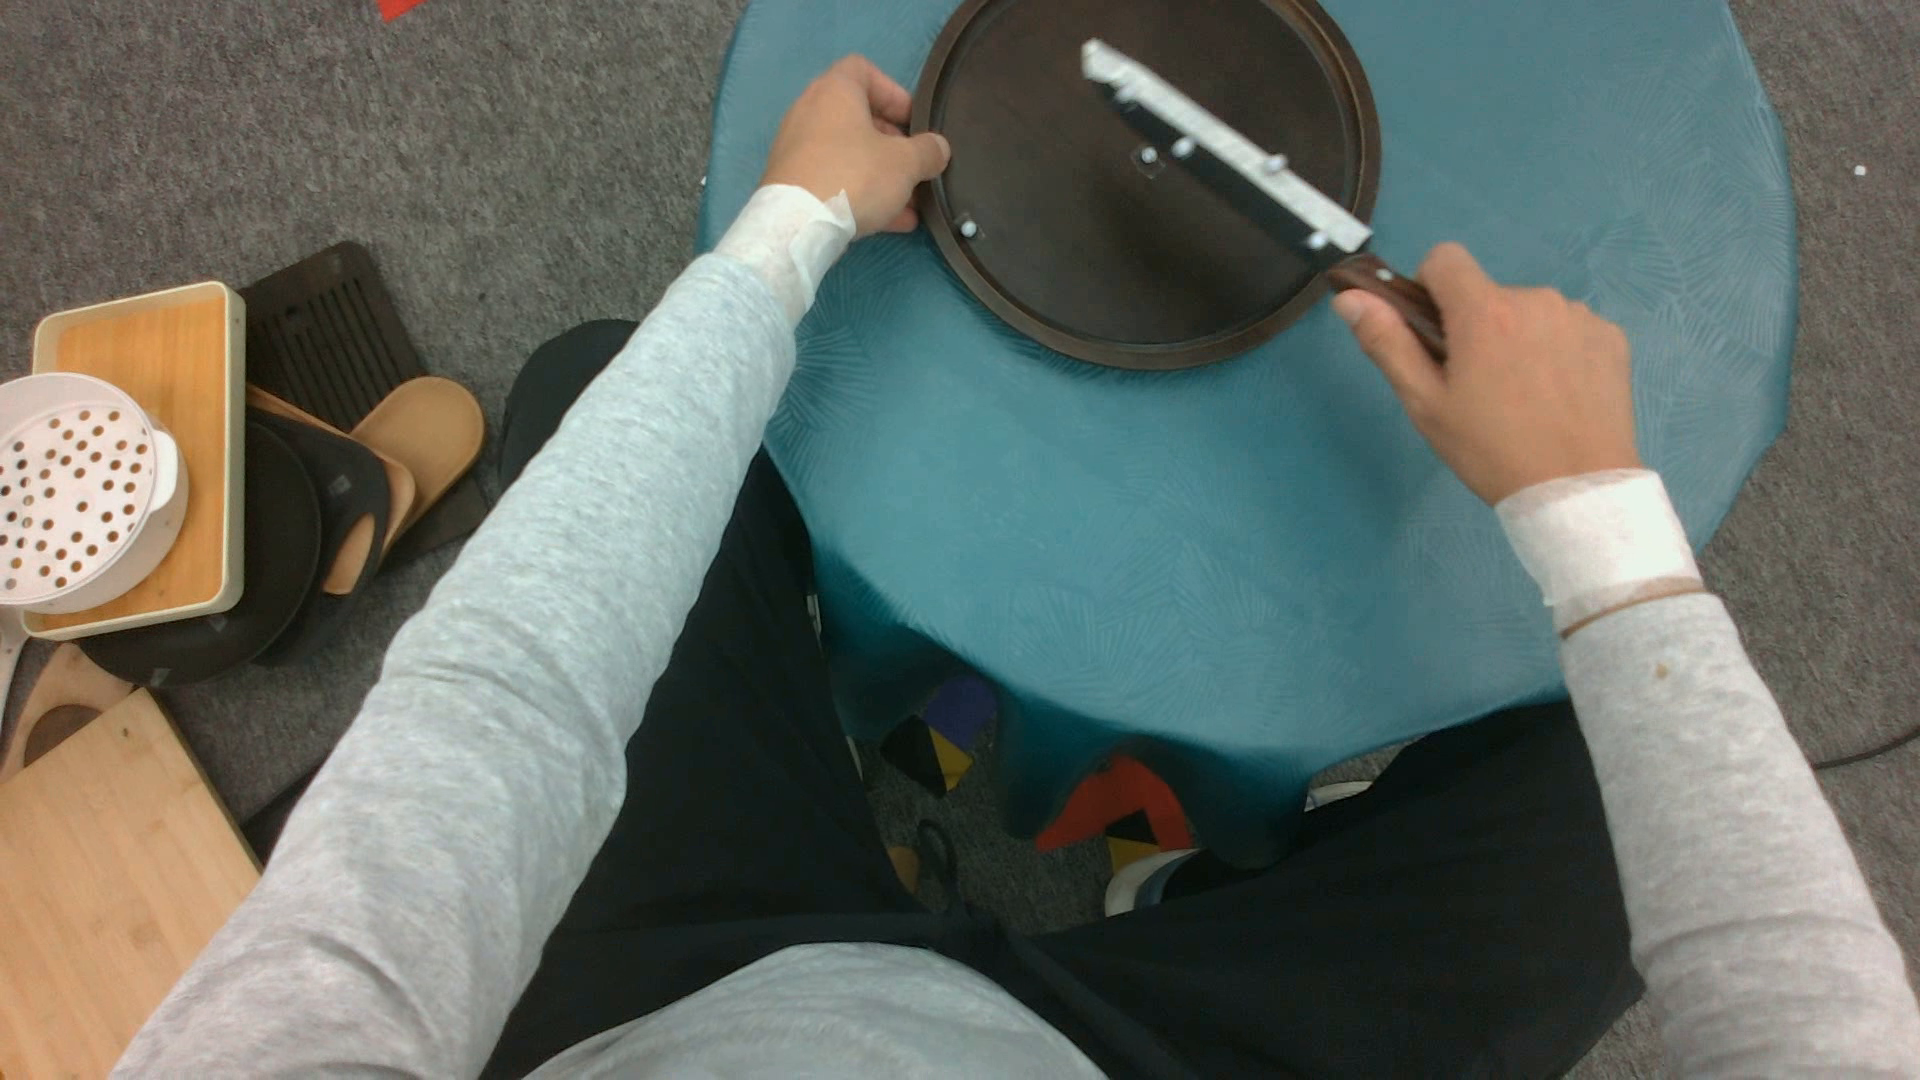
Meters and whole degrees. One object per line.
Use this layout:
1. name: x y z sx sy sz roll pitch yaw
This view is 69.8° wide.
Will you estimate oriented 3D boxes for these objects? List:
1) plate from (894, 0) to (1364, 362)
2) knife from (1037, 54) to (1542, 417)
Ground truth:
1. plate: 0.091 -0.217 0.746 0.255 0.029 0.255 1 80 -3
2. knife: 0.150 -0.149 0.649 0.289 0.020 0.050 38 53 9
